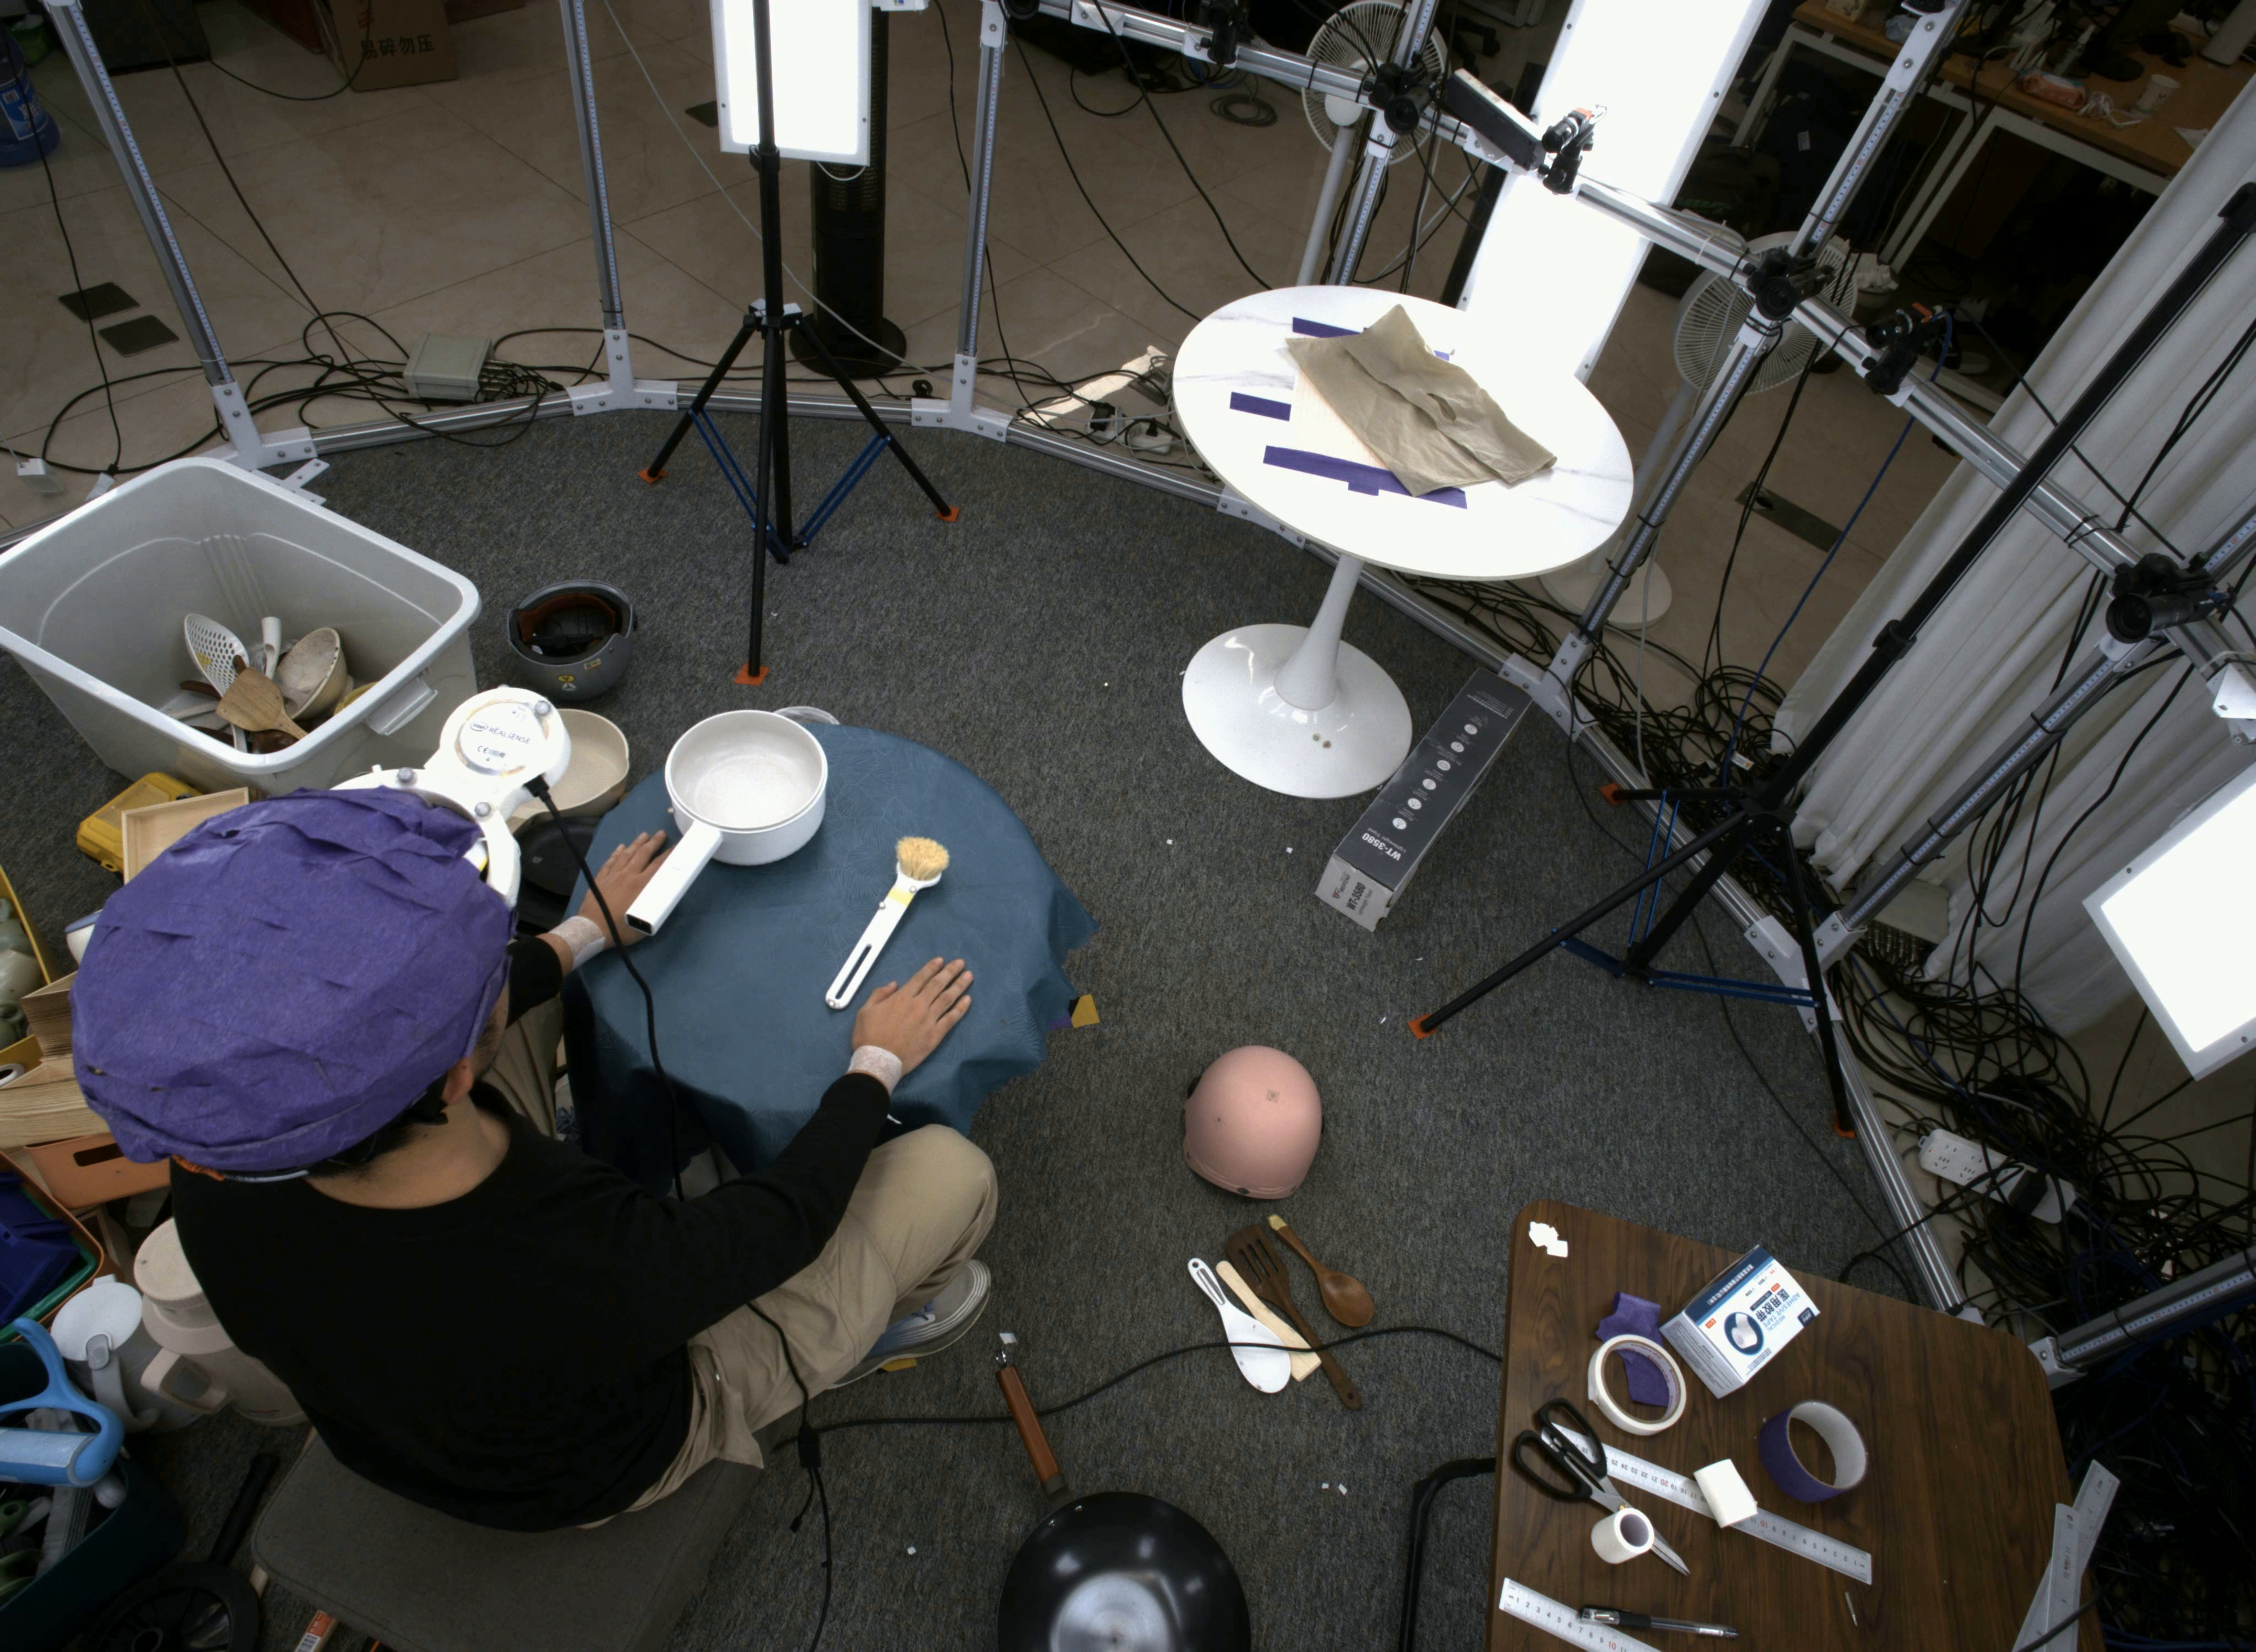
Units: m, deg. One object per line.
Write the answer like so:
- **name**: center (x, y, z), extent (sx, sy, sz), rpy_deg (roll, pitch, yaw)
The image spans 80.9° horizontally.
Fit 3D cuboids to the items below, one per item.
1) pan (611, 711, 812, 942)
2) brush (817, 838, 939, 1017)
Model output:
- **pan**: center (-0.533, 0.013, 1.618), extent (0.199, 0.104, 0.351), rpy_deg (22, 52, 2)
- **brush**: center (-0.315, 0.117, 1.625), extent (0.067, 0.057, 0.264), rpy_deg (21, 52, 8)
